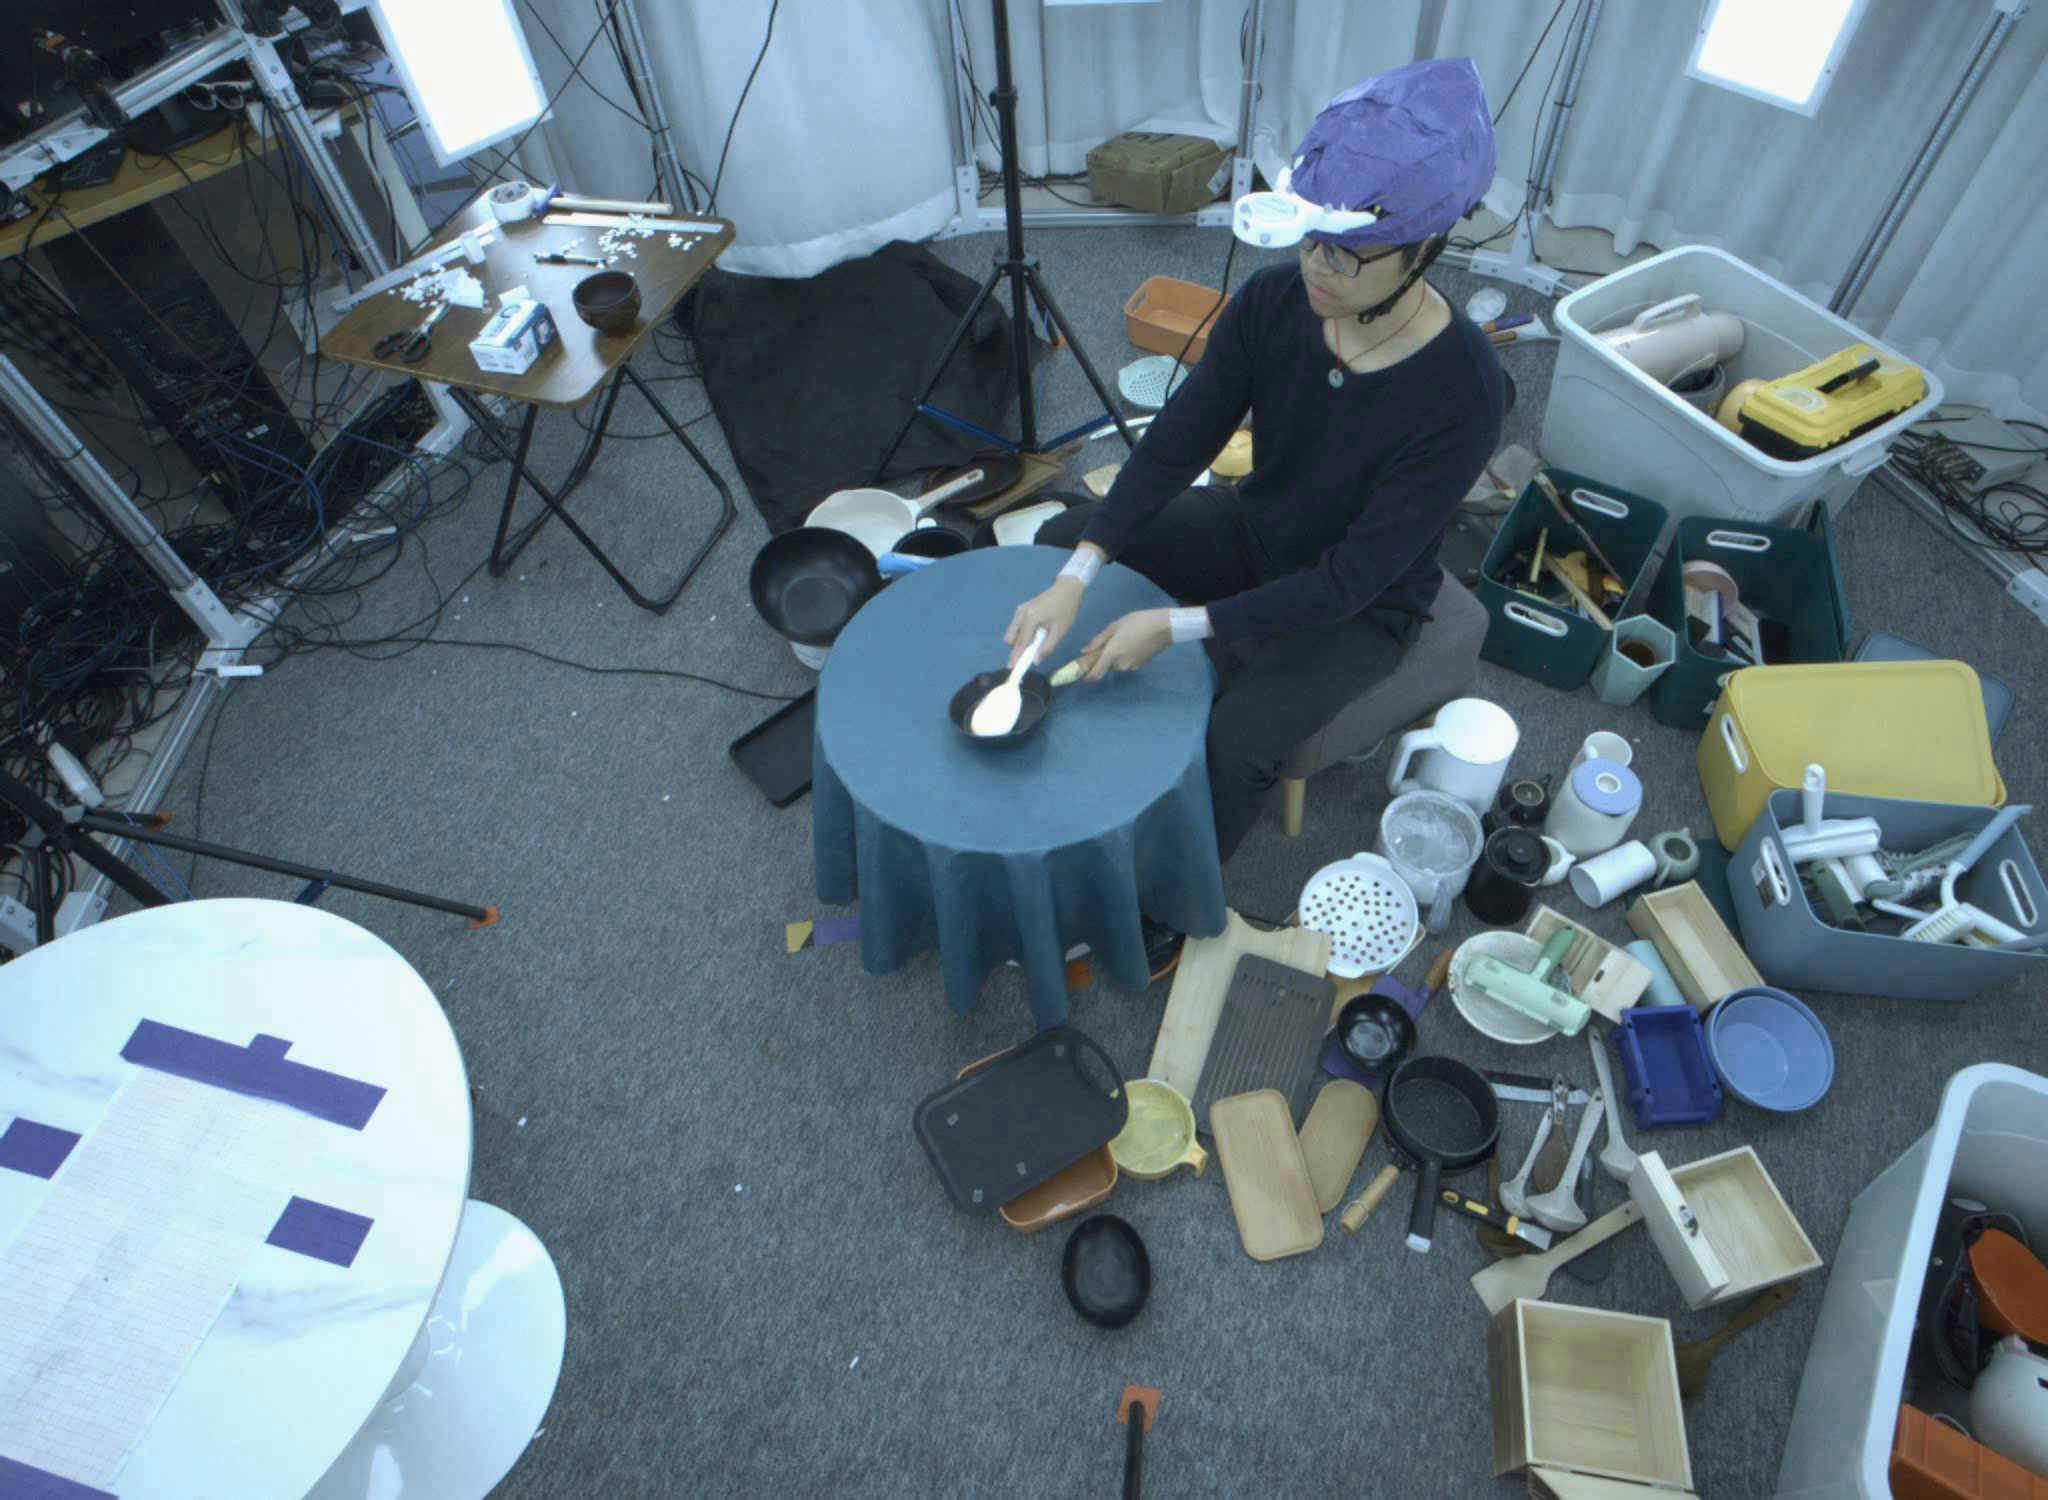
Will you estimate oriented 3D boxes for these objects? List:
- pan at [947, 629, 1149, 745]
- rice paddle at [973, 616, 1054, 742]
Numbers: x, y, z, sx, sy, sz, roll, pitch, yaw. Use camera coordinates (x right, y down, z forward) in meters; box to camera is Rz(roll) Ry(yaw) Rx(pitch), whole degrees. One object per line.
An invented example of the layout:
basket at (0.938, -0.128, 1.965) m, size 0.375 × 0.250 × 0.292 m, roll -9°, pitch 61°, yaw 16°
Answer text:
pan at (0.043, -0.099, 1.801) m, size 0.326 × 0.050 × 0.165 m, roll -24°, pitch 40°, yaw -9°
rice paddle at (-0.014, -0.102, 1.784) m, size 0.067 × 0.030 × 0.205 m, roll 19°, pitch 73°, yaw 27°
